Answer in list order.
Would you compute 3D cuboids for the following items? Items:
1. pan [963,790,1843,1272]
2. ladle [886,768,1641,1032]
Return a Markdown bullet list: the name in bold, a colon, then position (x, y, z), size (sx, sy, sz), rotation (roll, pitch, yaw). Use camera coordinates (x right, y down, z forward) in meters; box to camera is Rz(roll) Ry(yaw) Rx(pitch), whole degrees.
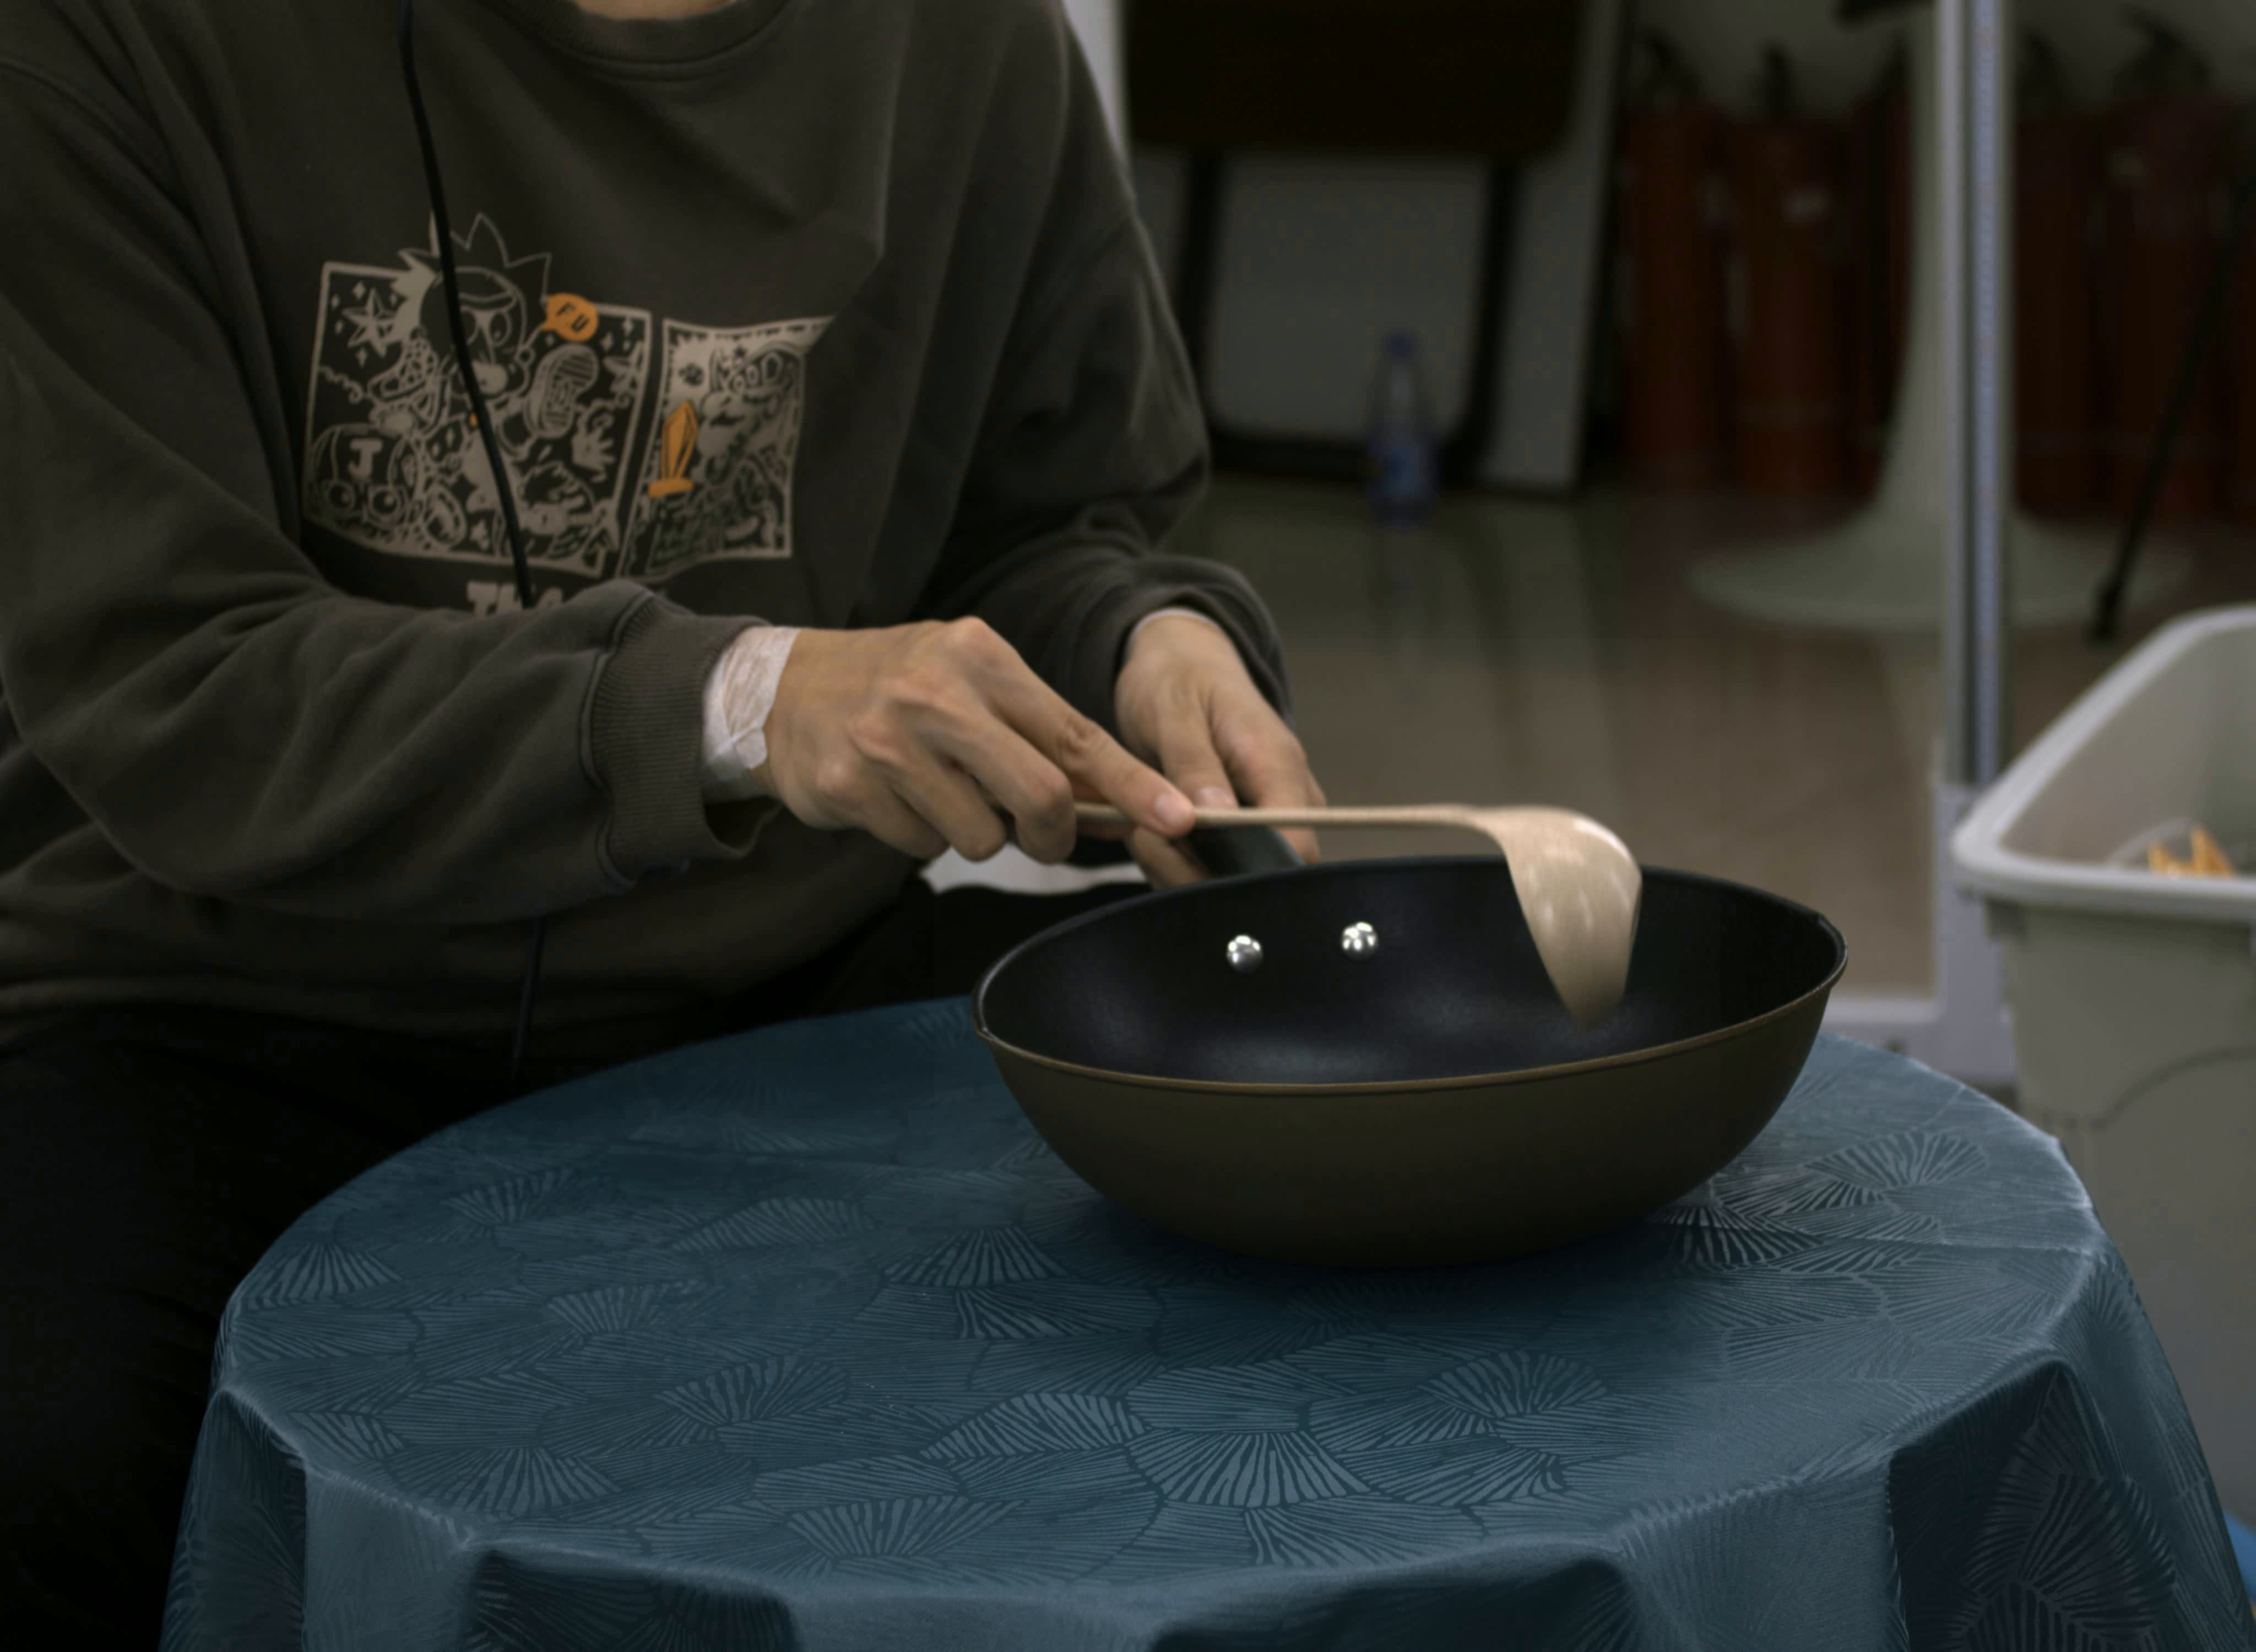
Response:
- **pan**: position (0.068, 0.066, 1.815), size (0.283, 0.088, 0.466), rotation (-7, 12, -12)
- **ladle**: position (0.041, 0.028, 1.762), size (0.253, 0.074, 0.071), rotation (5, 11, 14)
